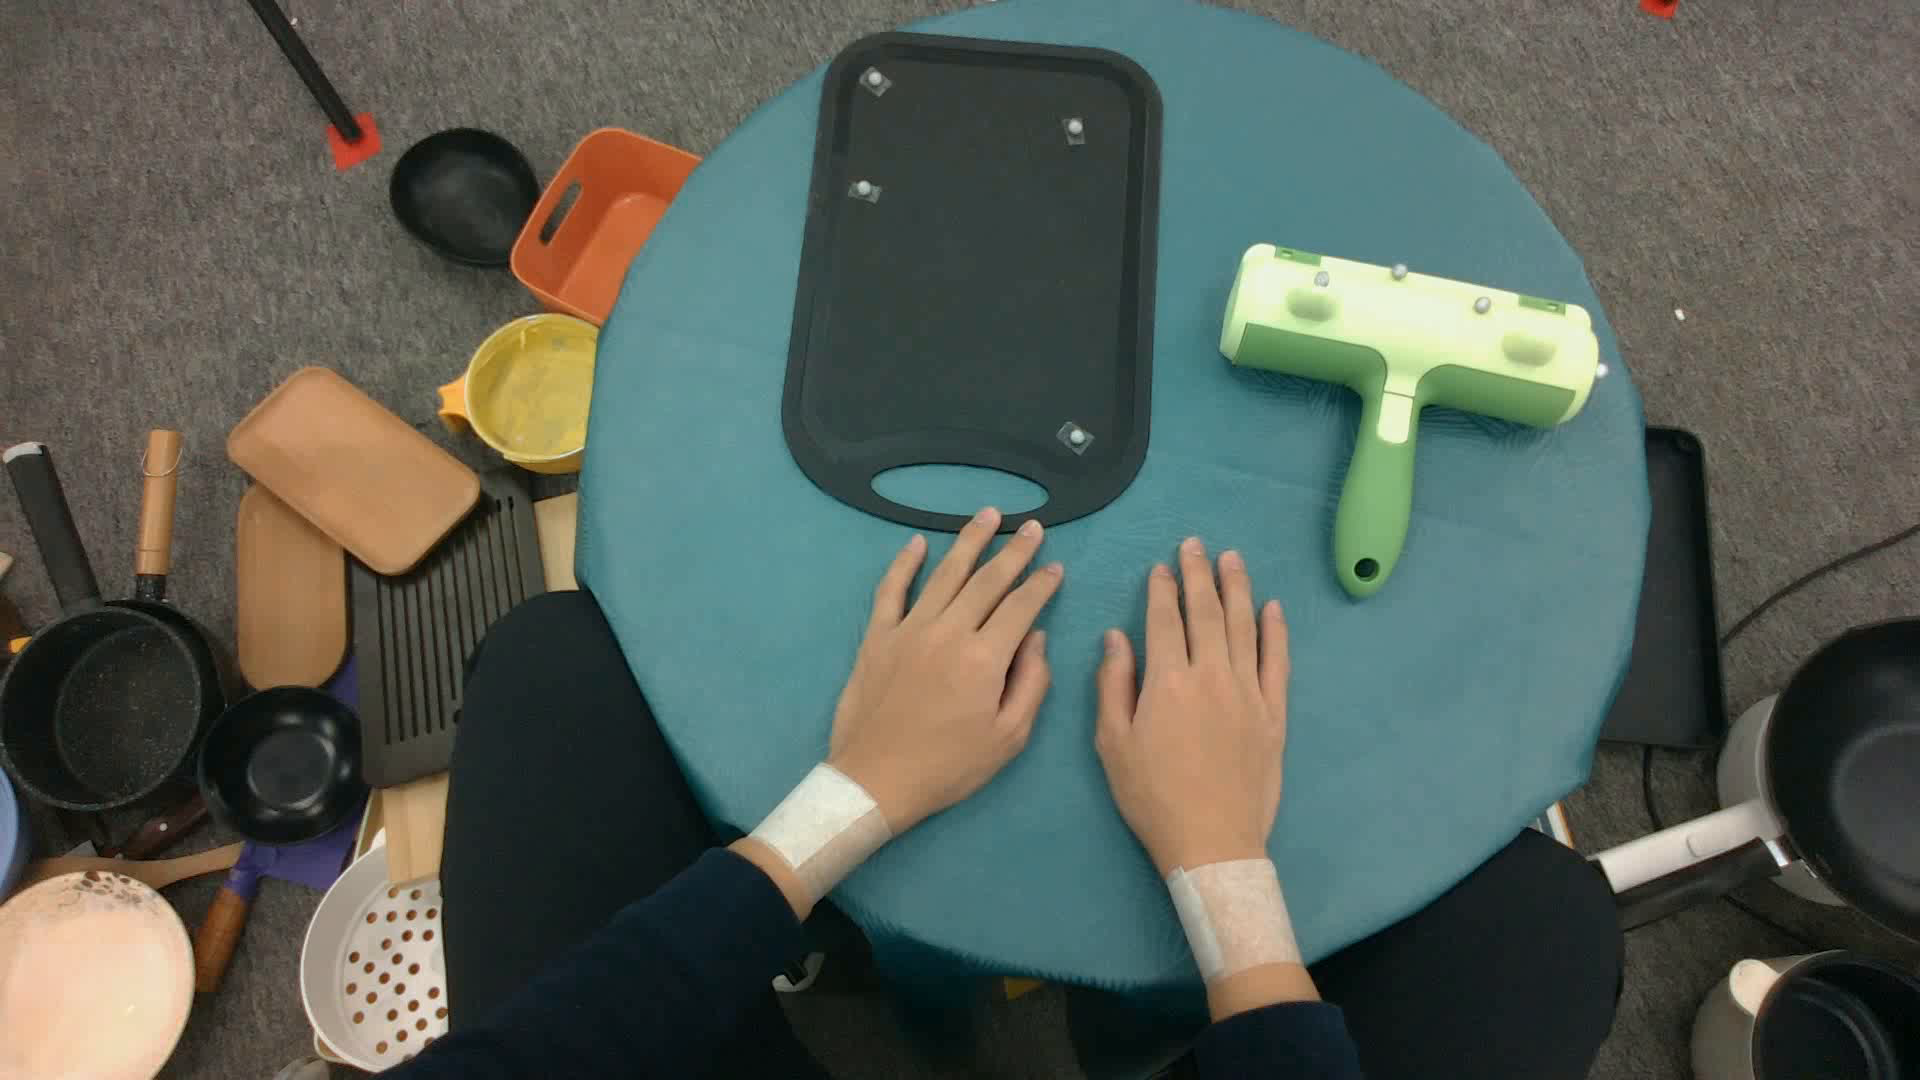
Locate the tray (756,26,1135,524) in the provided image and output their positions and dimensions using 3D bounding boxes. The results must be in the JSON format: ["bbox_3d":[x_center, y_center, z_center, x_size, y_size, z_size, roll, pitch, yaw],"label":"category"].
[{"bbox_3d":[-0.004,-0.163,0.806,0.211,0.010,0.326,4,71,0],"label":"tray"}]

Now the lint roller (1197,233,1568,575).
[{"bbox_3d":[0.224,-0.076,0.741,0.198,0.082,0.184,10,65,3],"label":"lint roller"}]
